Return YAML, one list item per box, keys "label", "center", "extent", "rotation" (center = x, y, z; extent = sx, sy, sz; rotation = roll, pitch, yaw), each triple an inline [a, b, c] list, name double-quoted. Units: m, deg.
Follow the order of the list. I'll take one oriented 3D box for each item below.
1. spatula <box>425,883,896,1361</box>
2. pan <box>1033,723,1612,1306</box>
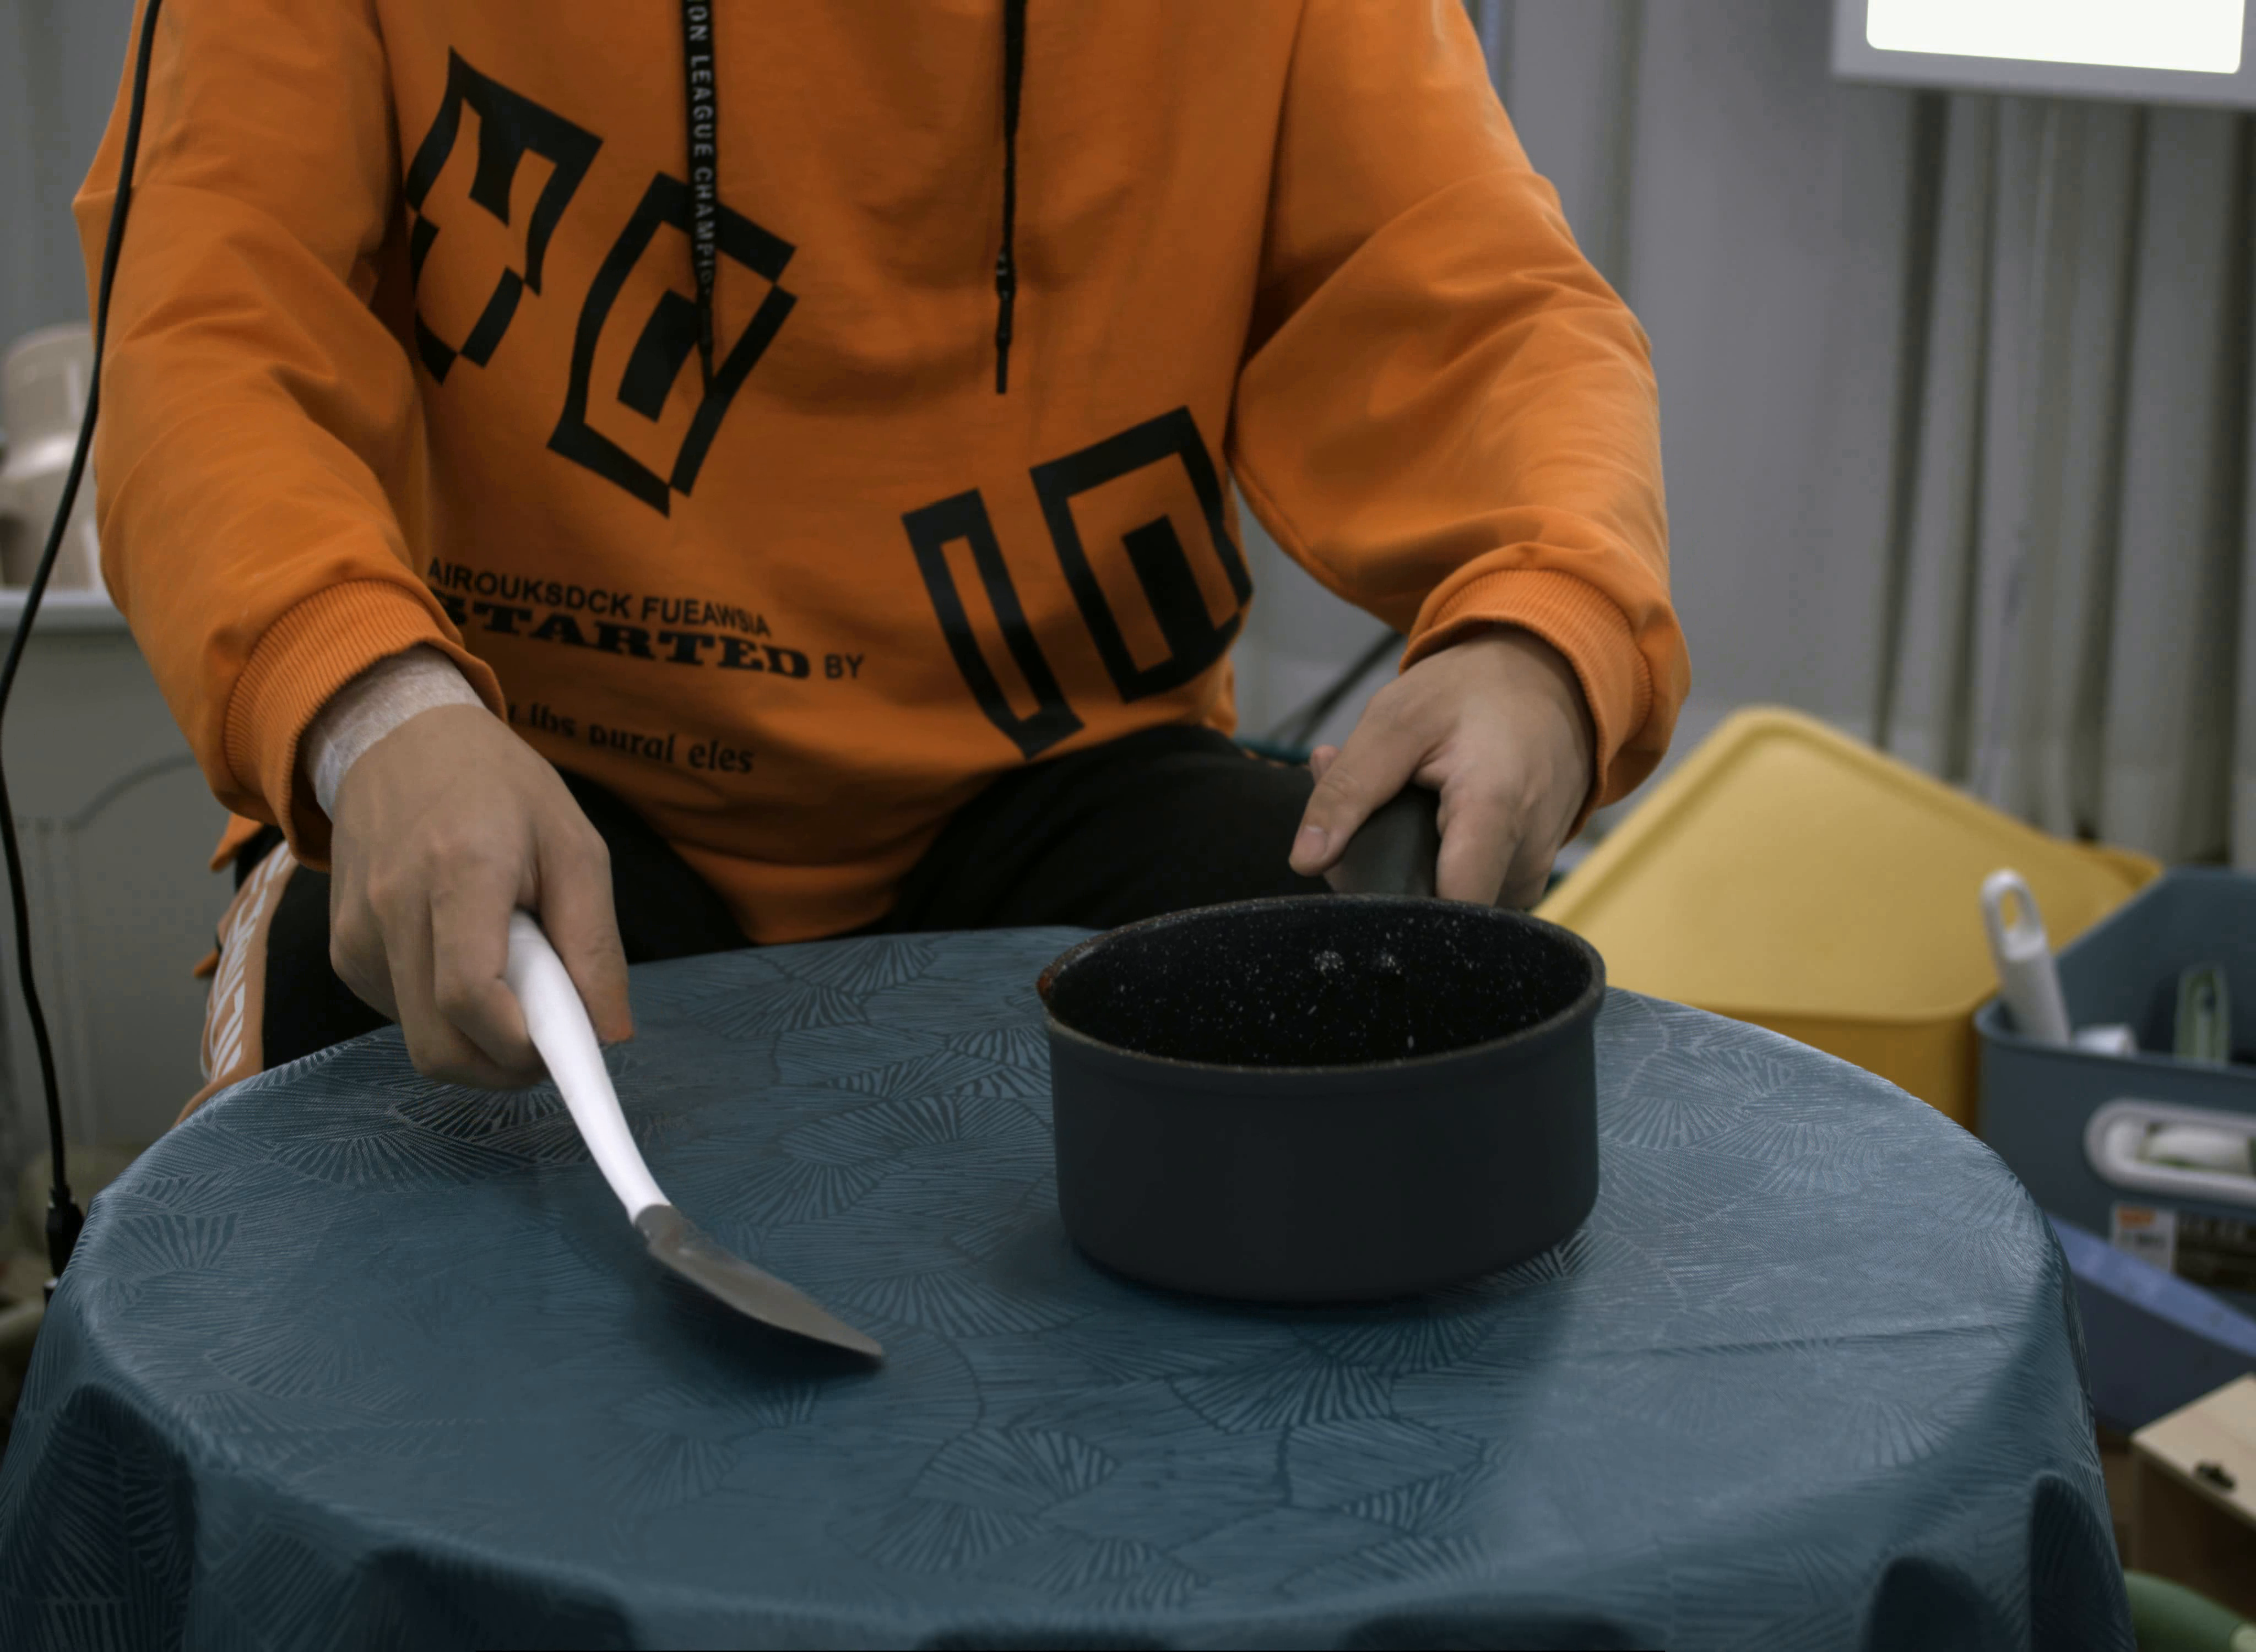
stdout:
- label: "spatula"
  center: [-0.148, 0.092, 1.570]
  extent: [0.059, 0.032, 0.283]
  rotation: [25, 12, -36]
- label: "pan"
  center: [0.076, 0.055, 1.647]
  extent: [0.171, 0.087, 0.328]
  rotation: [3, 19, 12]
